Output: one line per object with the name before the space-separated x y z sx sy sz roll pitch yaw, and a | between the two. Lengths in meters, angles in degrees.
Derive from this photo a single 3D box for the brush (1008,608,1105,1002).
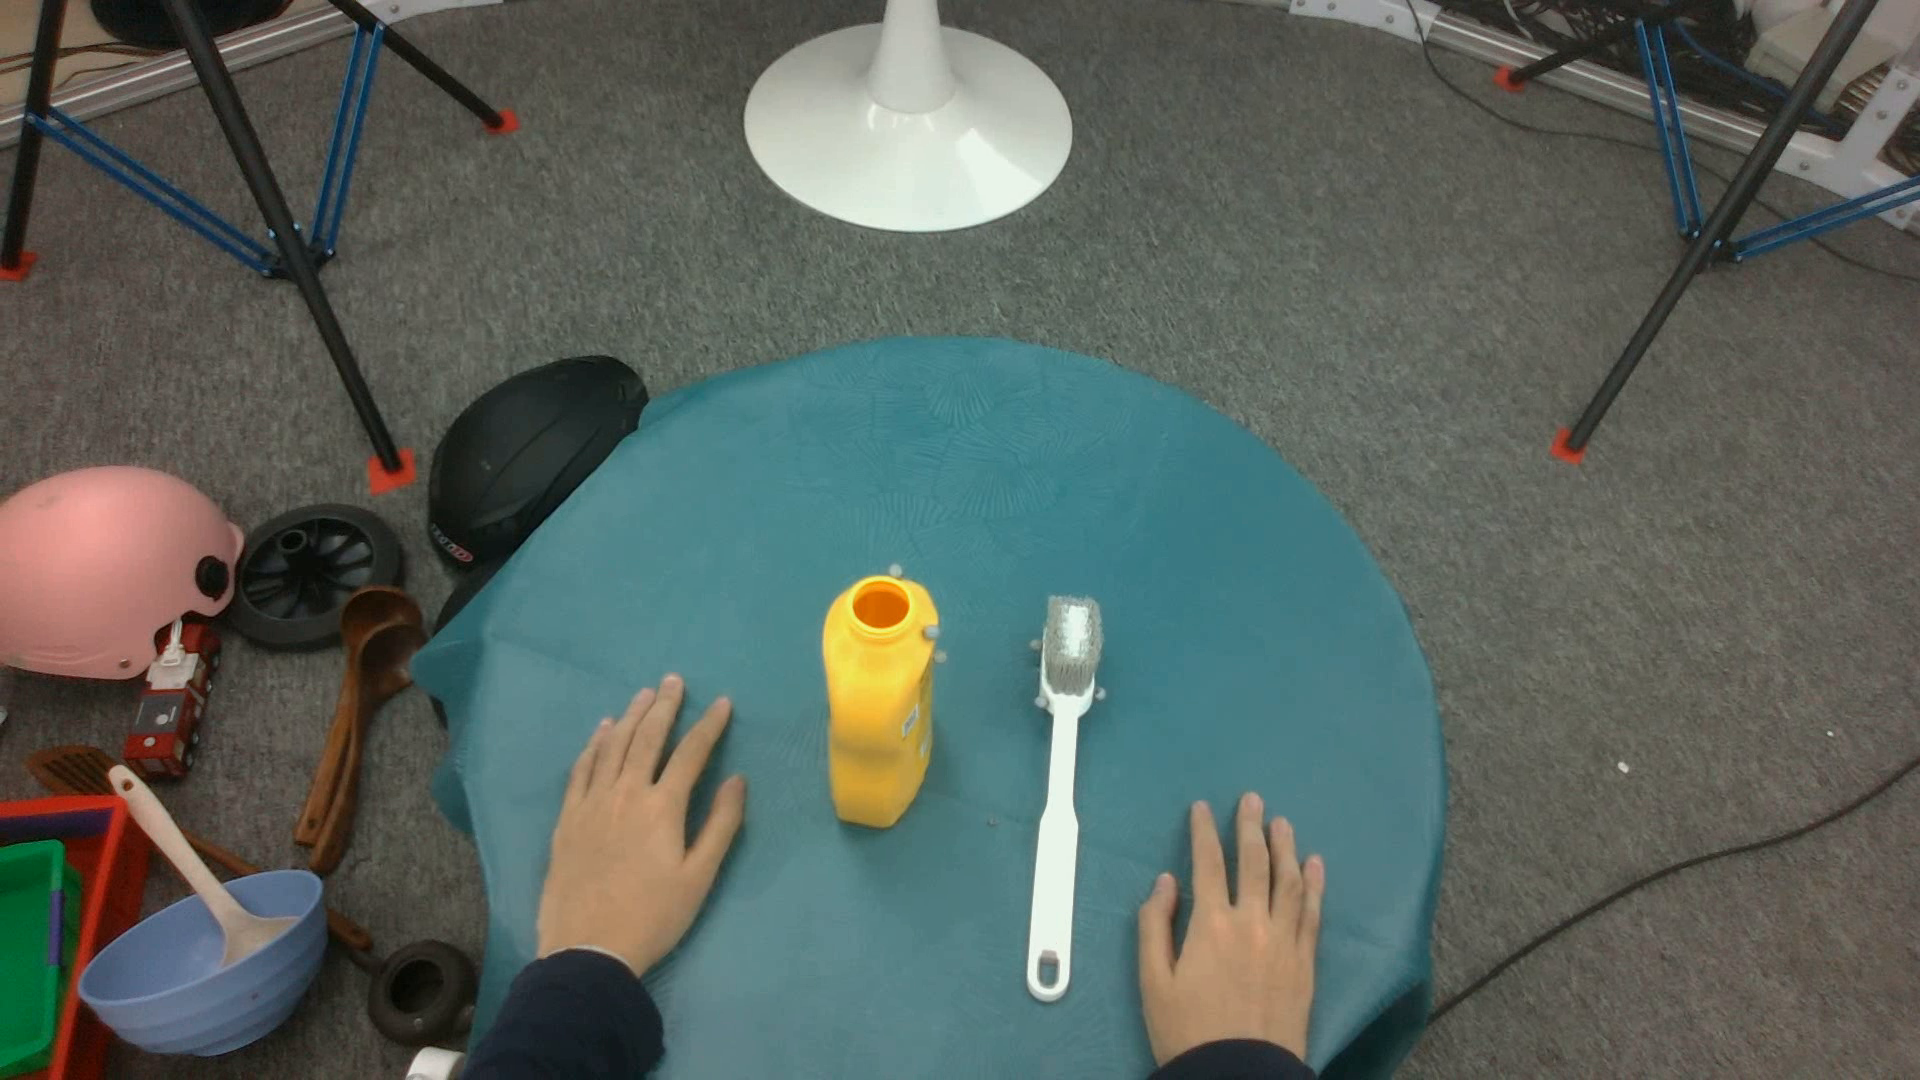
brush | 0.057 0.145 0.811 0.034 0.050 0.245 11 53 0

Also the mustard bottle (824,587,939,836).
mustard bottle | -0.042 0.089 0.770 0.059 0.171 0.098 5 55 4
